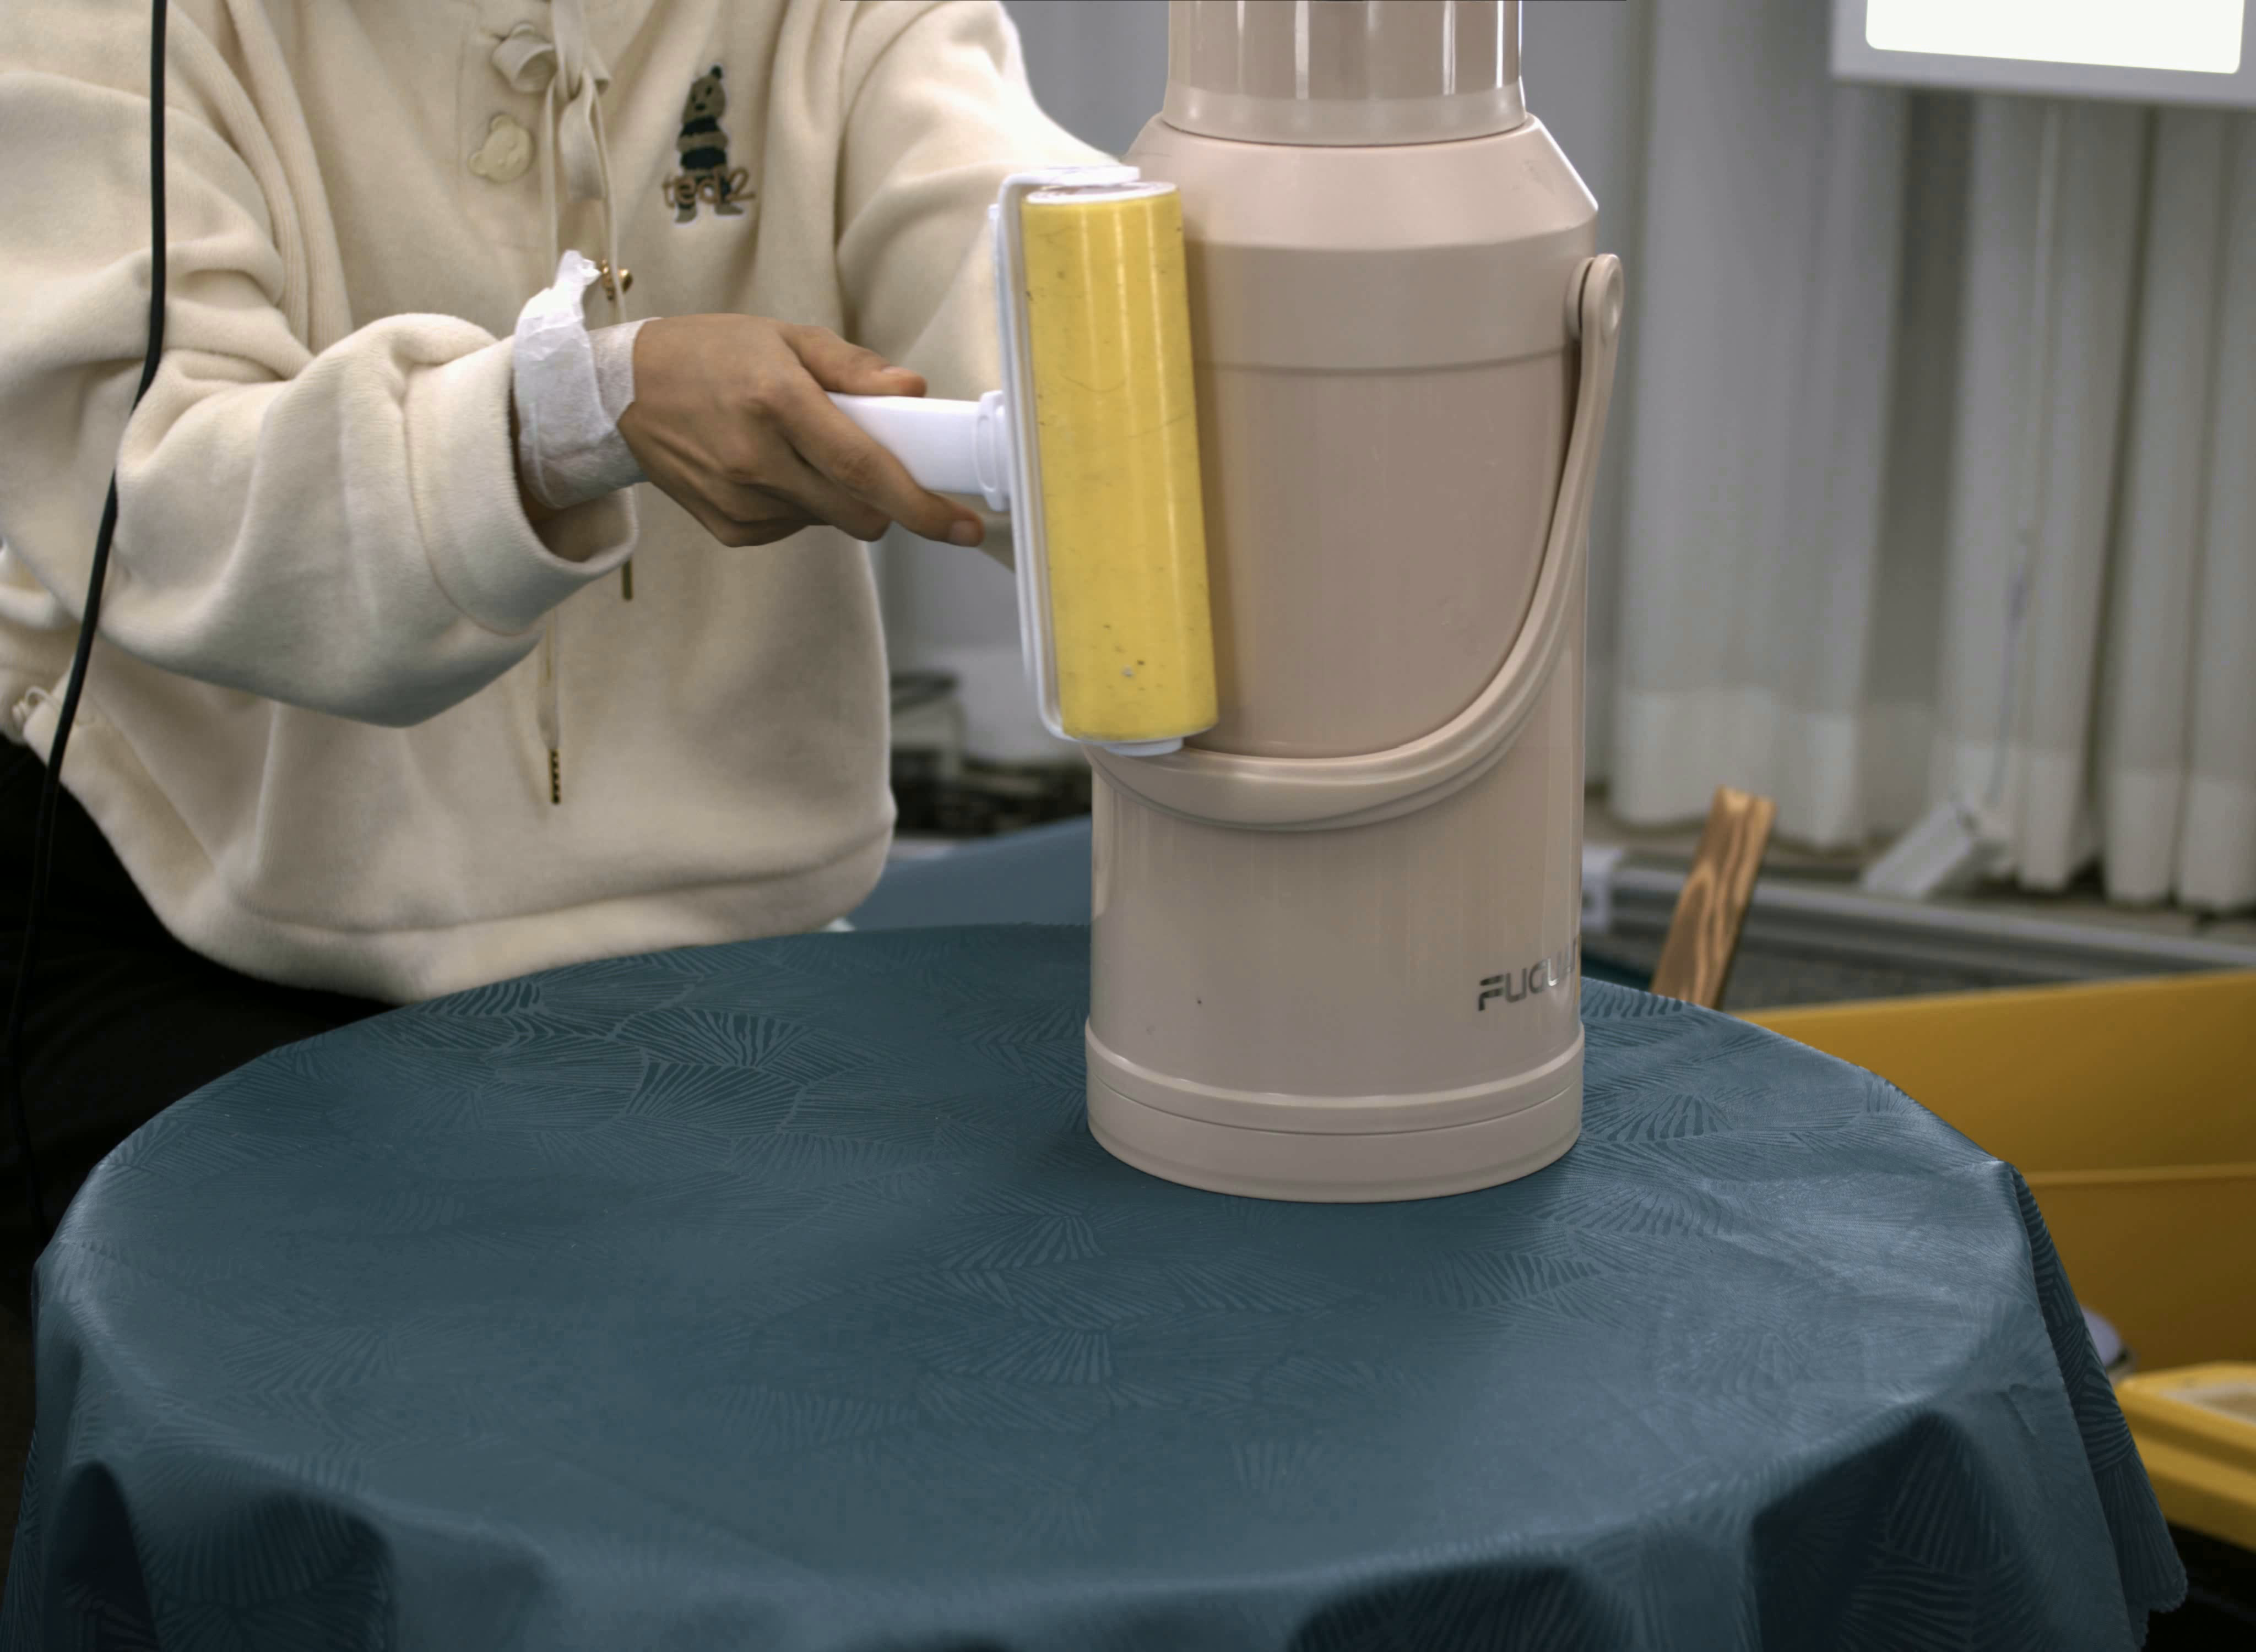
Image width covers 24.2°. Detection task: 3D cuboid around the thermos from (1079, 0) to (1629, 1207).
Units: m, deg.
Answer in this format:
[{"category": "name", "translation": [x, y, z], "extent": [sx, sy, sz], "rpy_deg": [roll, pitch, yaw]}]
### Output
[{"category": "thermos", "translation": [0.073, -0.099, 1.641], "extent": [0.173, 0.409, 0.207], "rpy_deg": [6, 17, 21]}]

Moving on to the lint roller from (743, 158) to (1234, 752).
[{"category": "lint roller", "translation": [-0.054, -0.112, 1.592], "extent": [0.190, 0.175, 0.051], "rpy_deg": [3, 14, 35]}]
